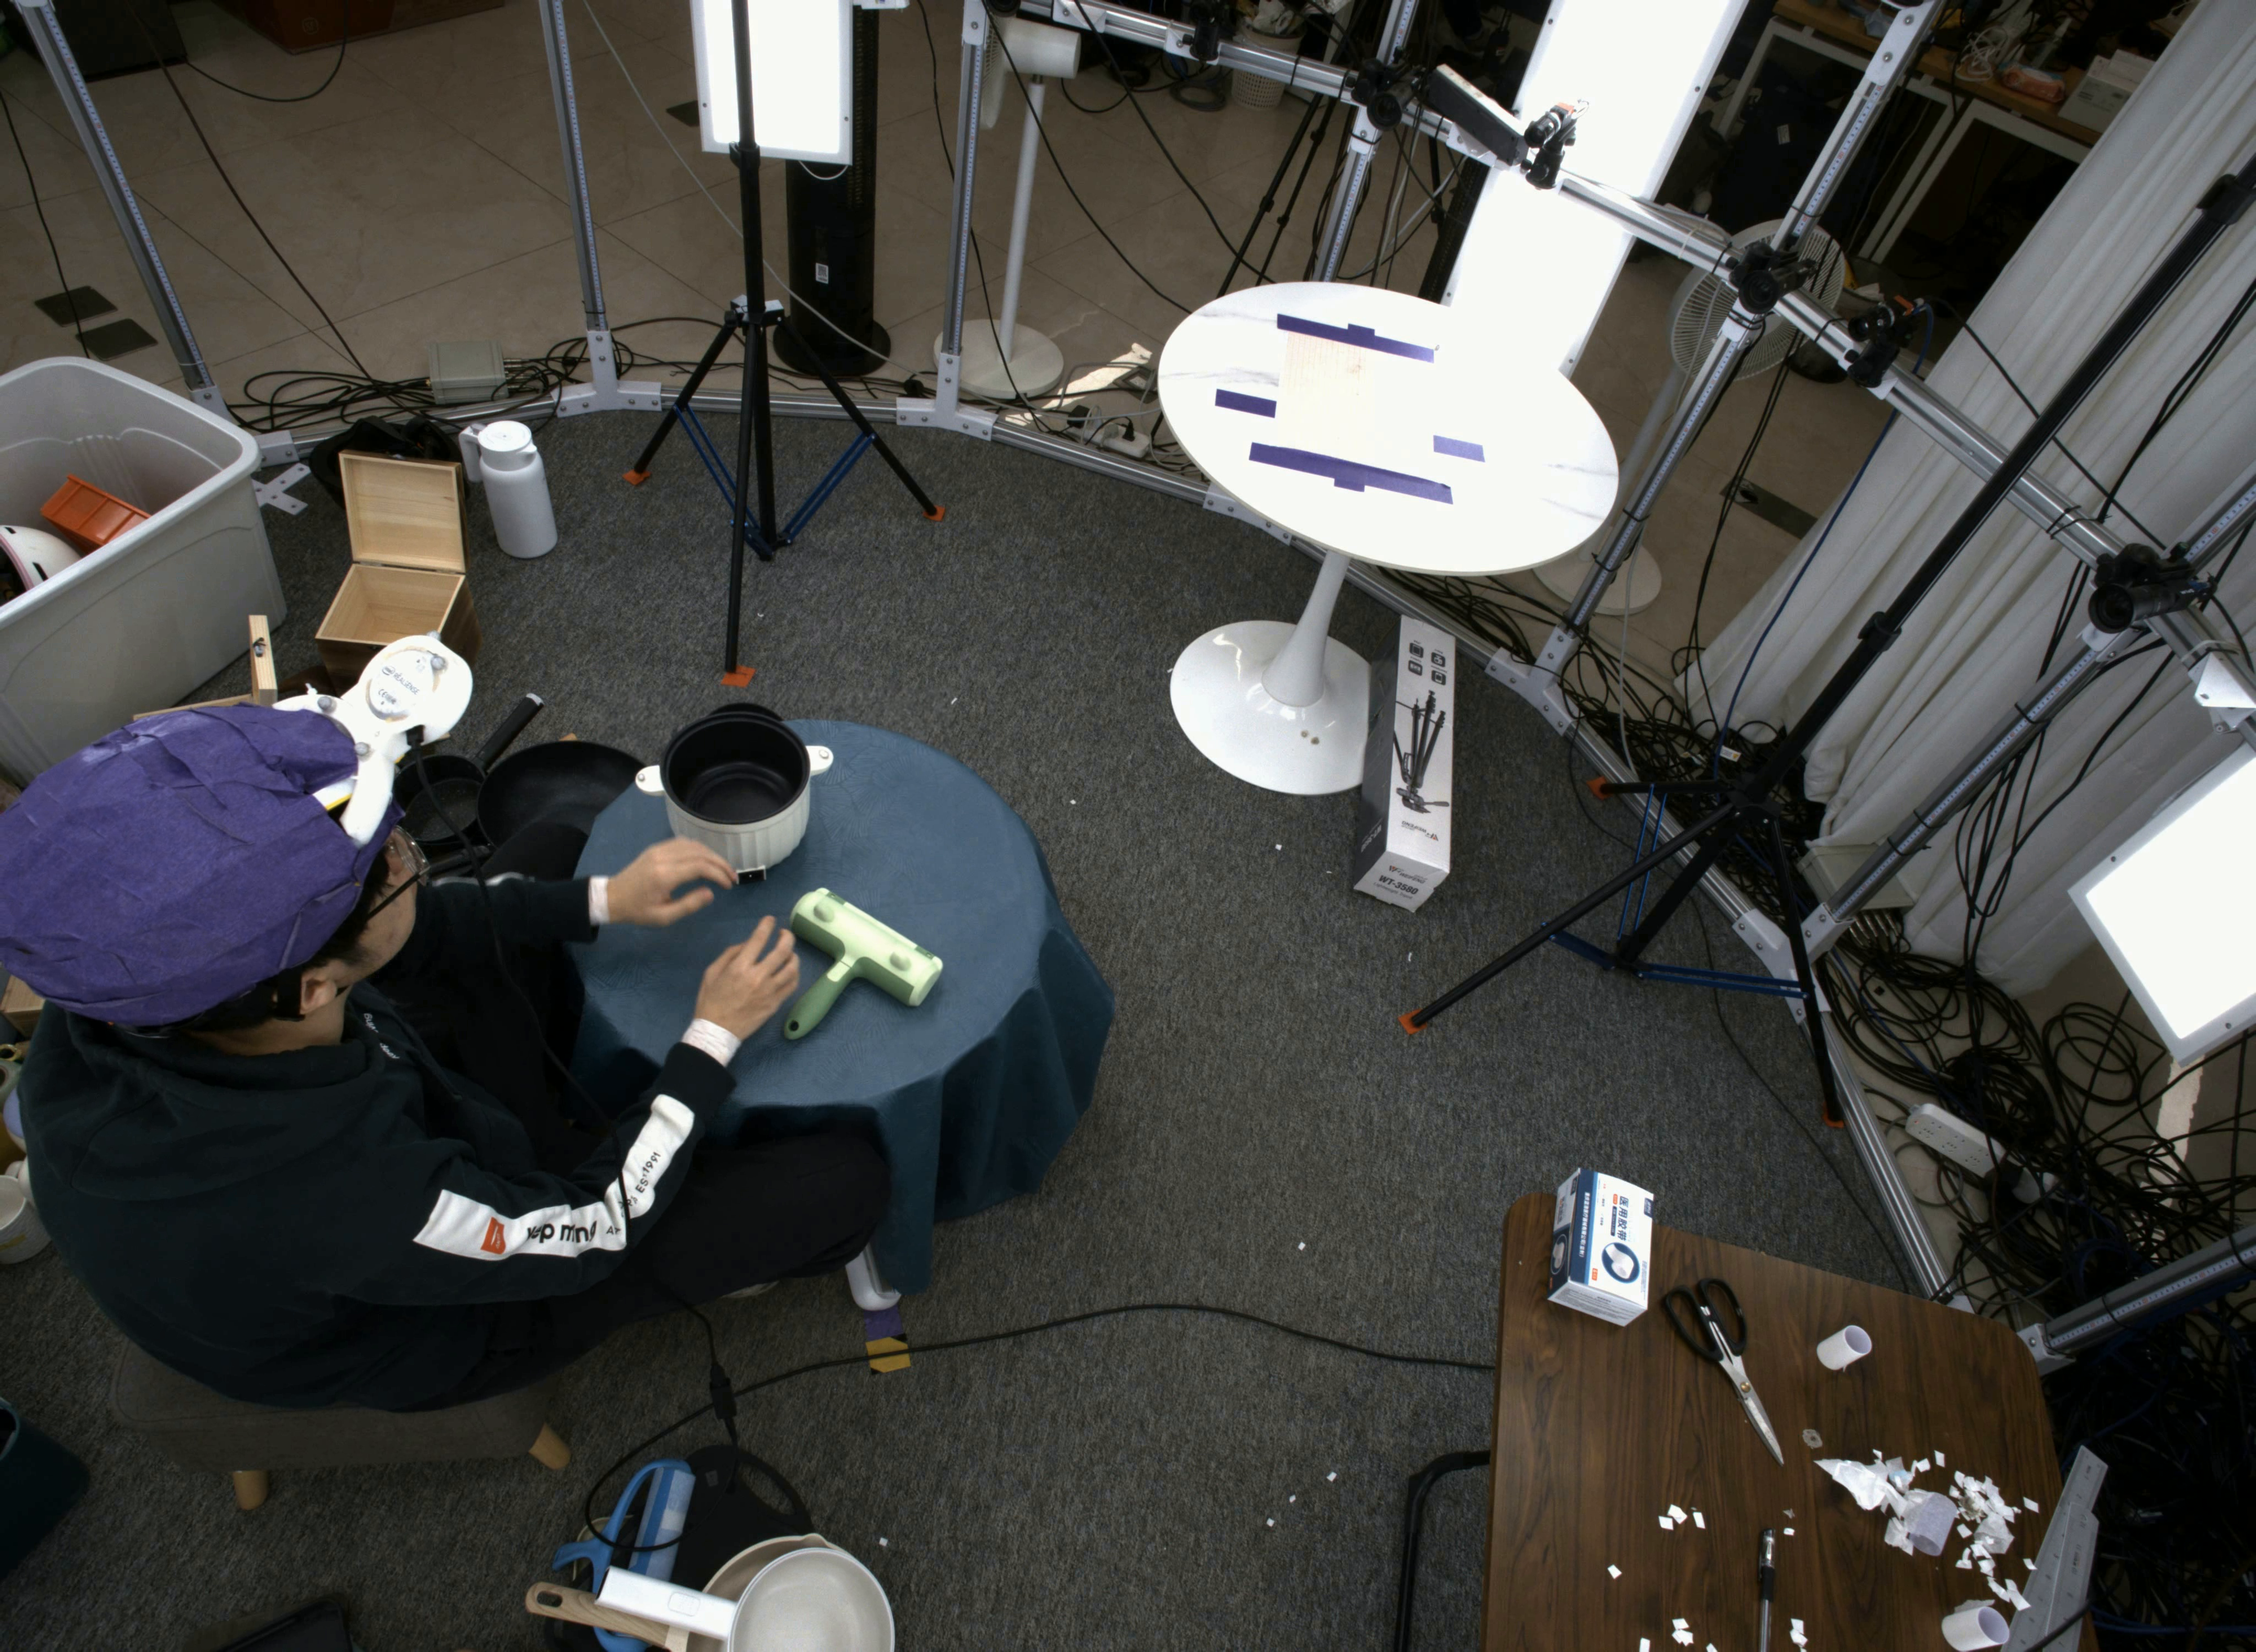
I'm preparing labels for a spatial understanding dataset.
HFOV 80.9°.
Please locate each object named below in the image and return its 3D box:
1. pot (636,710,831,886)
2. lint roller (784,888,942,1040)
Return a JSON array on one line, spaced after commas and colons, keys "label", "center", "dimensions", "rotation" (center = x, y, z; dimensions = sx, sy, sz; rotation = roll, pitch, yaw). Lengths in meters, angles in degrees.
[{"label": "pot", "center": [-0.501, -0.039, 1.649], "dimensions": [0.242, 0.145, 0.186], "rotation": [-9, 59, -22]}, {"label": "lint roller", "center": [-0.353, 0.175, 1.571], "dimensions": [0.195, 0.084, 0.183], "rotation": [31, 47, 9]}]
